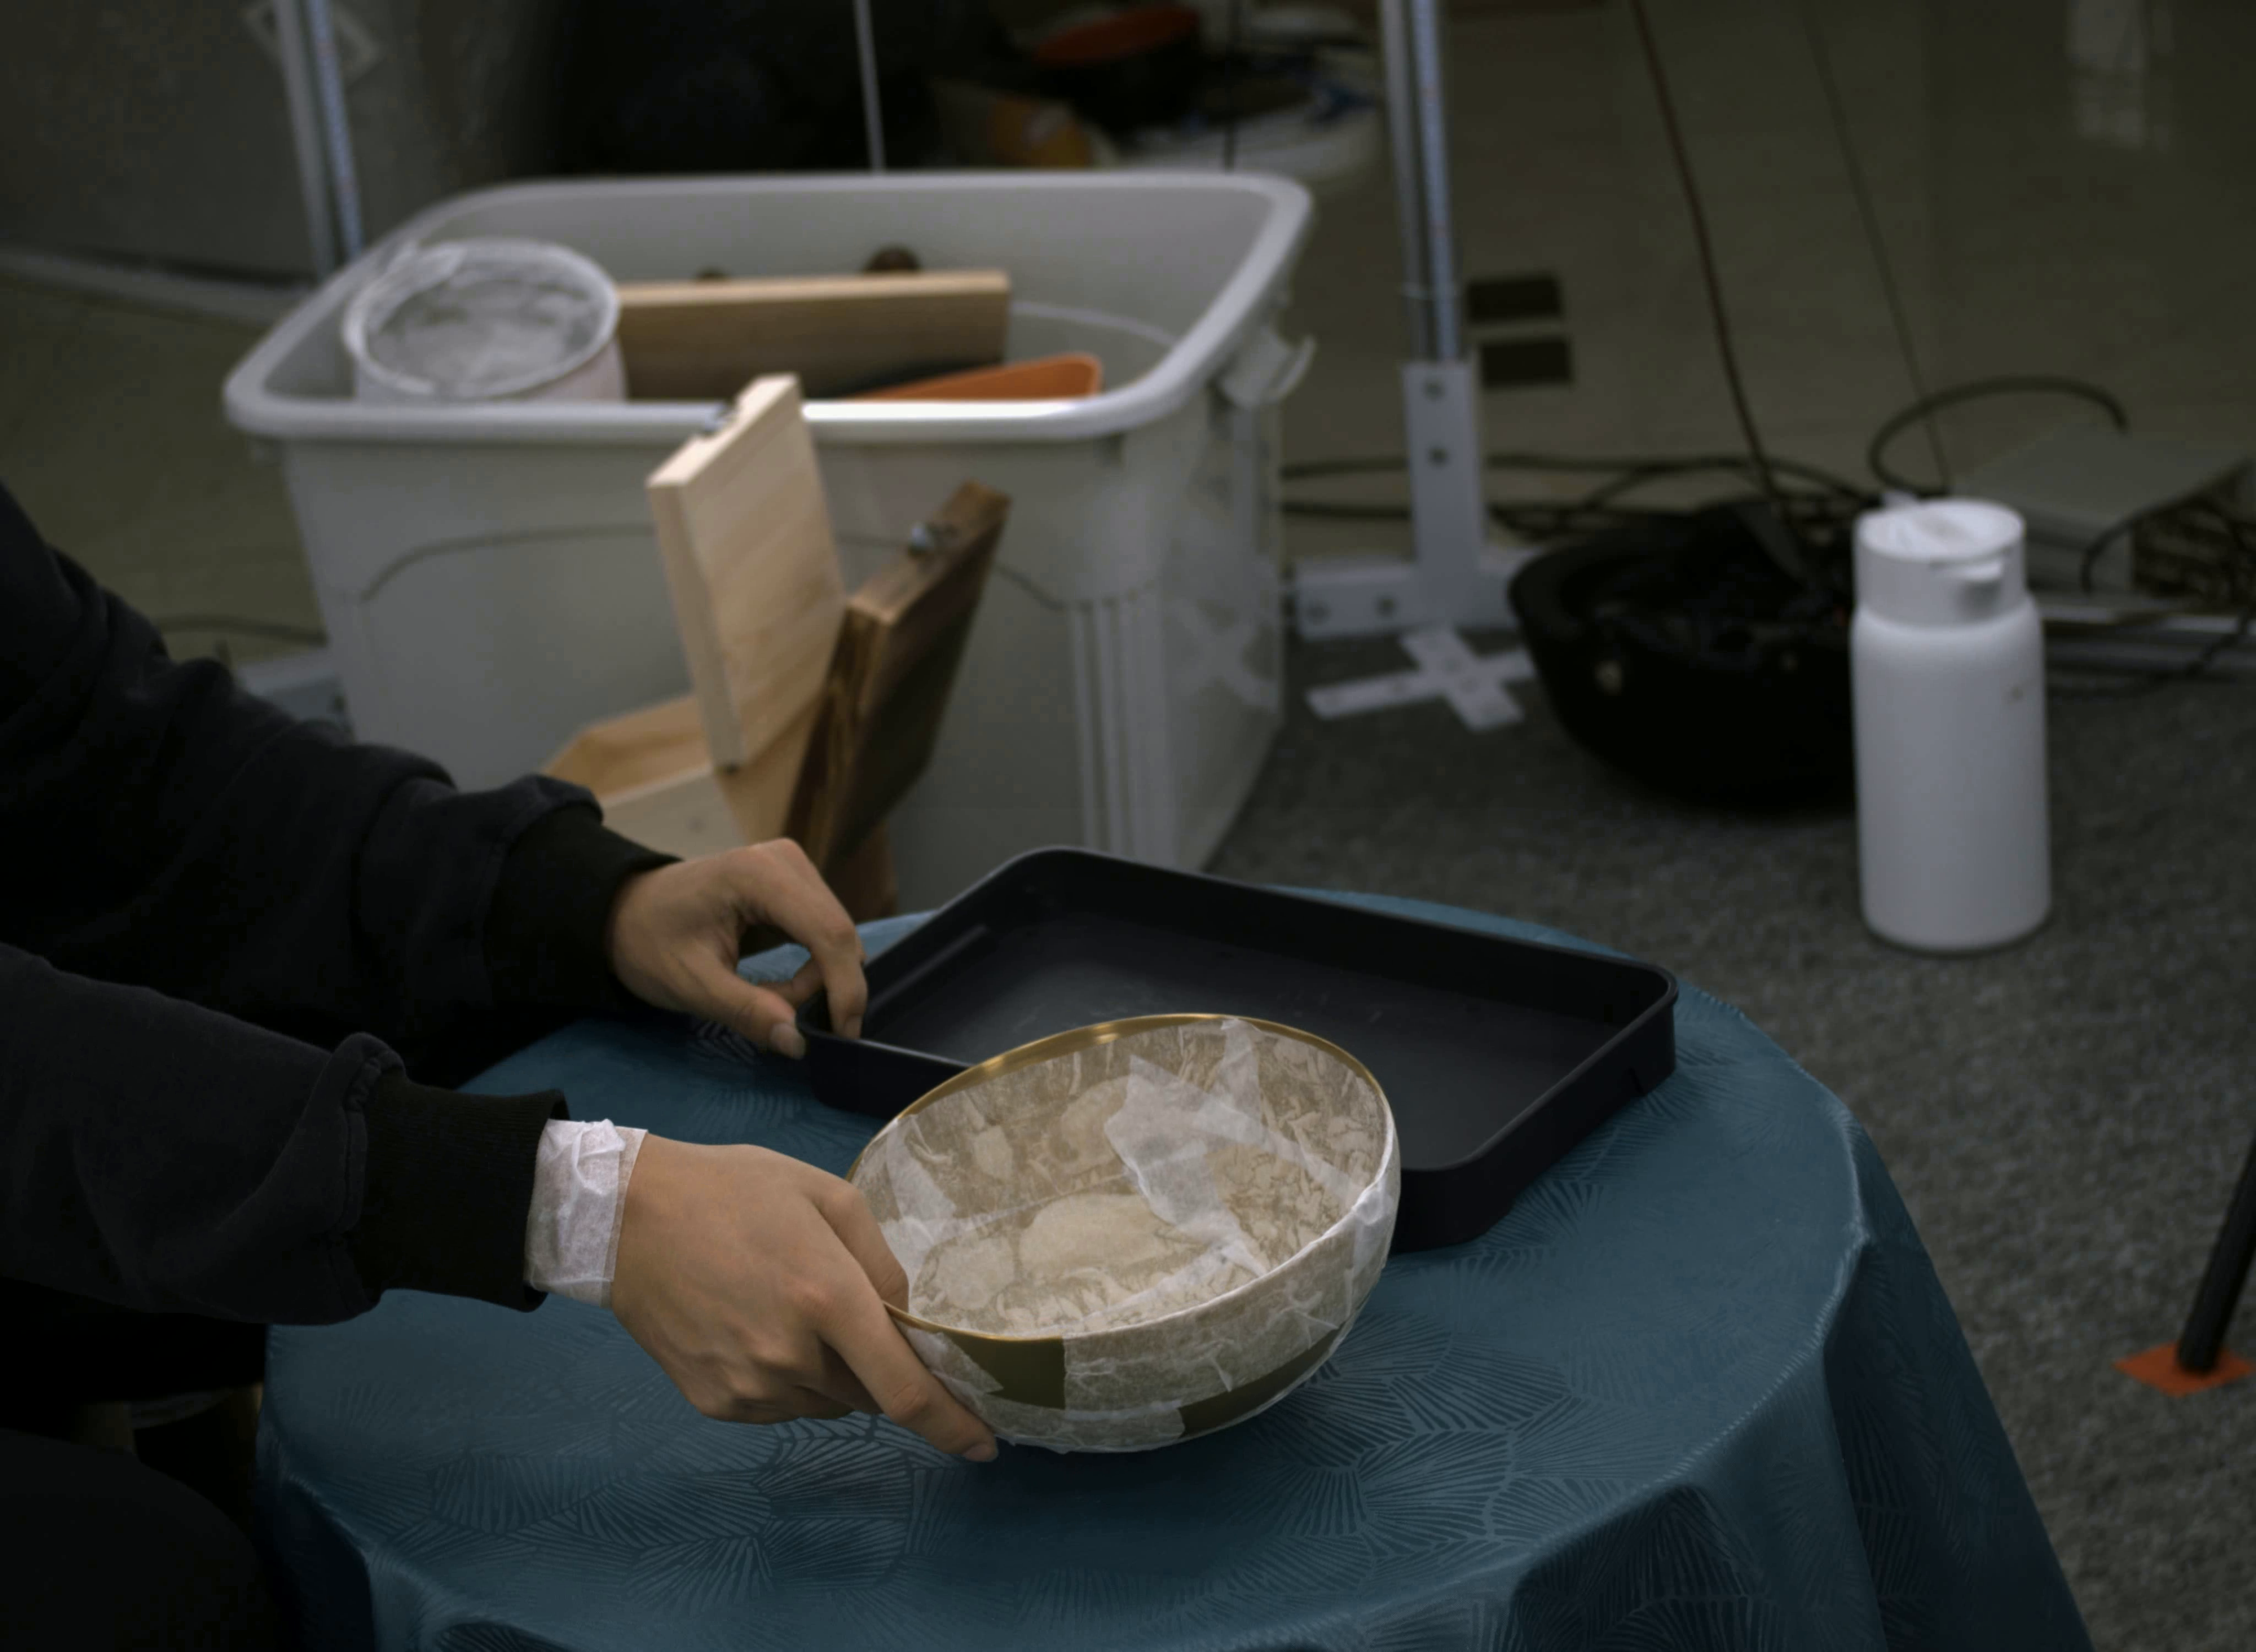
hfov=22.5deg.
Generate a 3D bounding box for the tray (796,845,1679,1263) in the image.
[{"bbox_3d":[0.042,0.085,2.221,0.316,0.037,0.182,14,31,34],"label":"tray"}]

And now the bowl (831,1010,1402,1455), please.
[{"bbox_3d":[0.002,0.155,1.999,0.214,0.096,0.211,-11,30,6],"label":"bowl"}]
